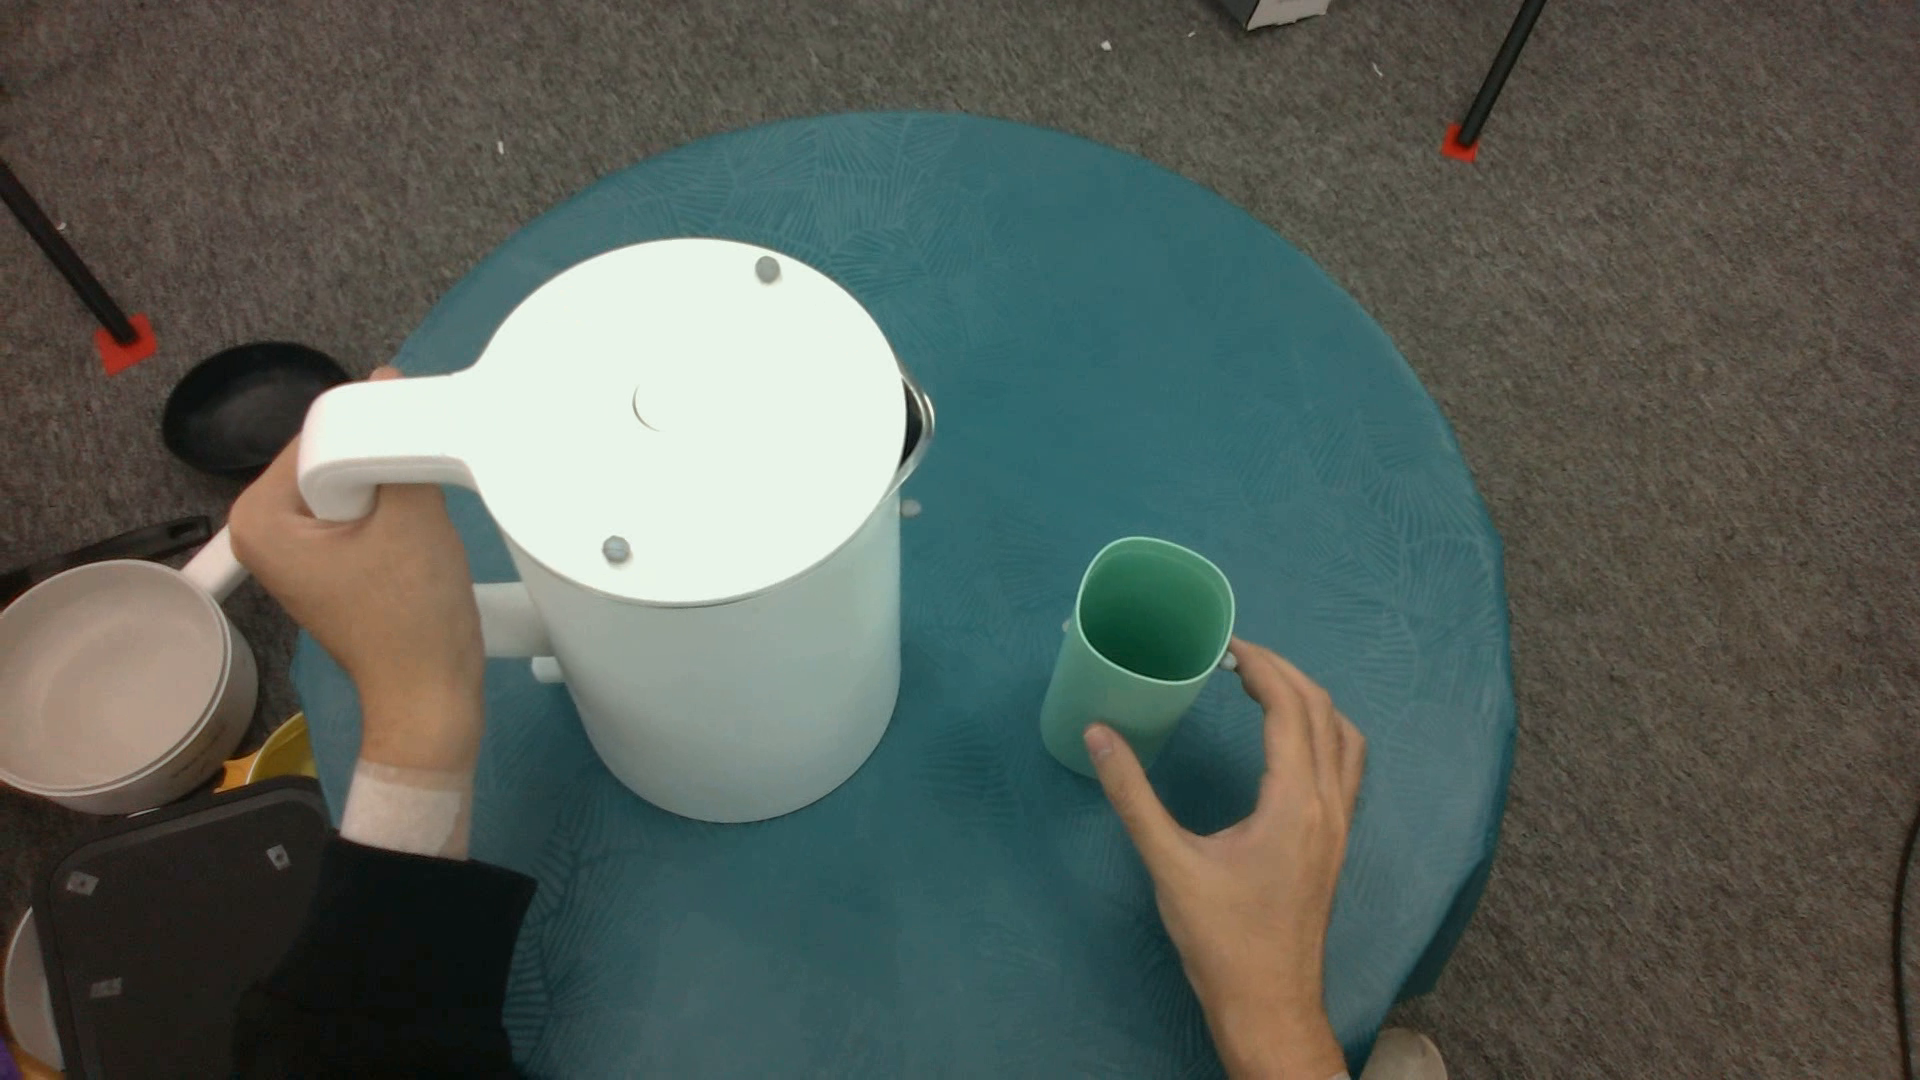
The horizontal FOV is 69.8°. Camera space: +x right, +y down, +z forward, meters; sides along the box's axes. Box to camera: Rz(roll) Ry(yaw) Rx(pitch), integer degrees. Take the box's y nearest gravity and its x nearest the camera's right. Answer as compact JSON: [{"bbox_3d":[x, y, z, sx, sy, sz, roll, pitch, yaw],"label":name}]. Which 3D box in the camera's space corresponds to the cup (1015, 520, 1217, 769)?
[{"bbox_3d":[0.064,0.051,0.607,0.067,0.132,0.067,3,62,-6],"label":"cup"}]

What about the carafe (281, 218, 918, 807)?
[{"bbox_3d":[-0.131,0.000,0.553,0.213,0.239,0.152,-1,62,-7],"label":"carafe"}]
